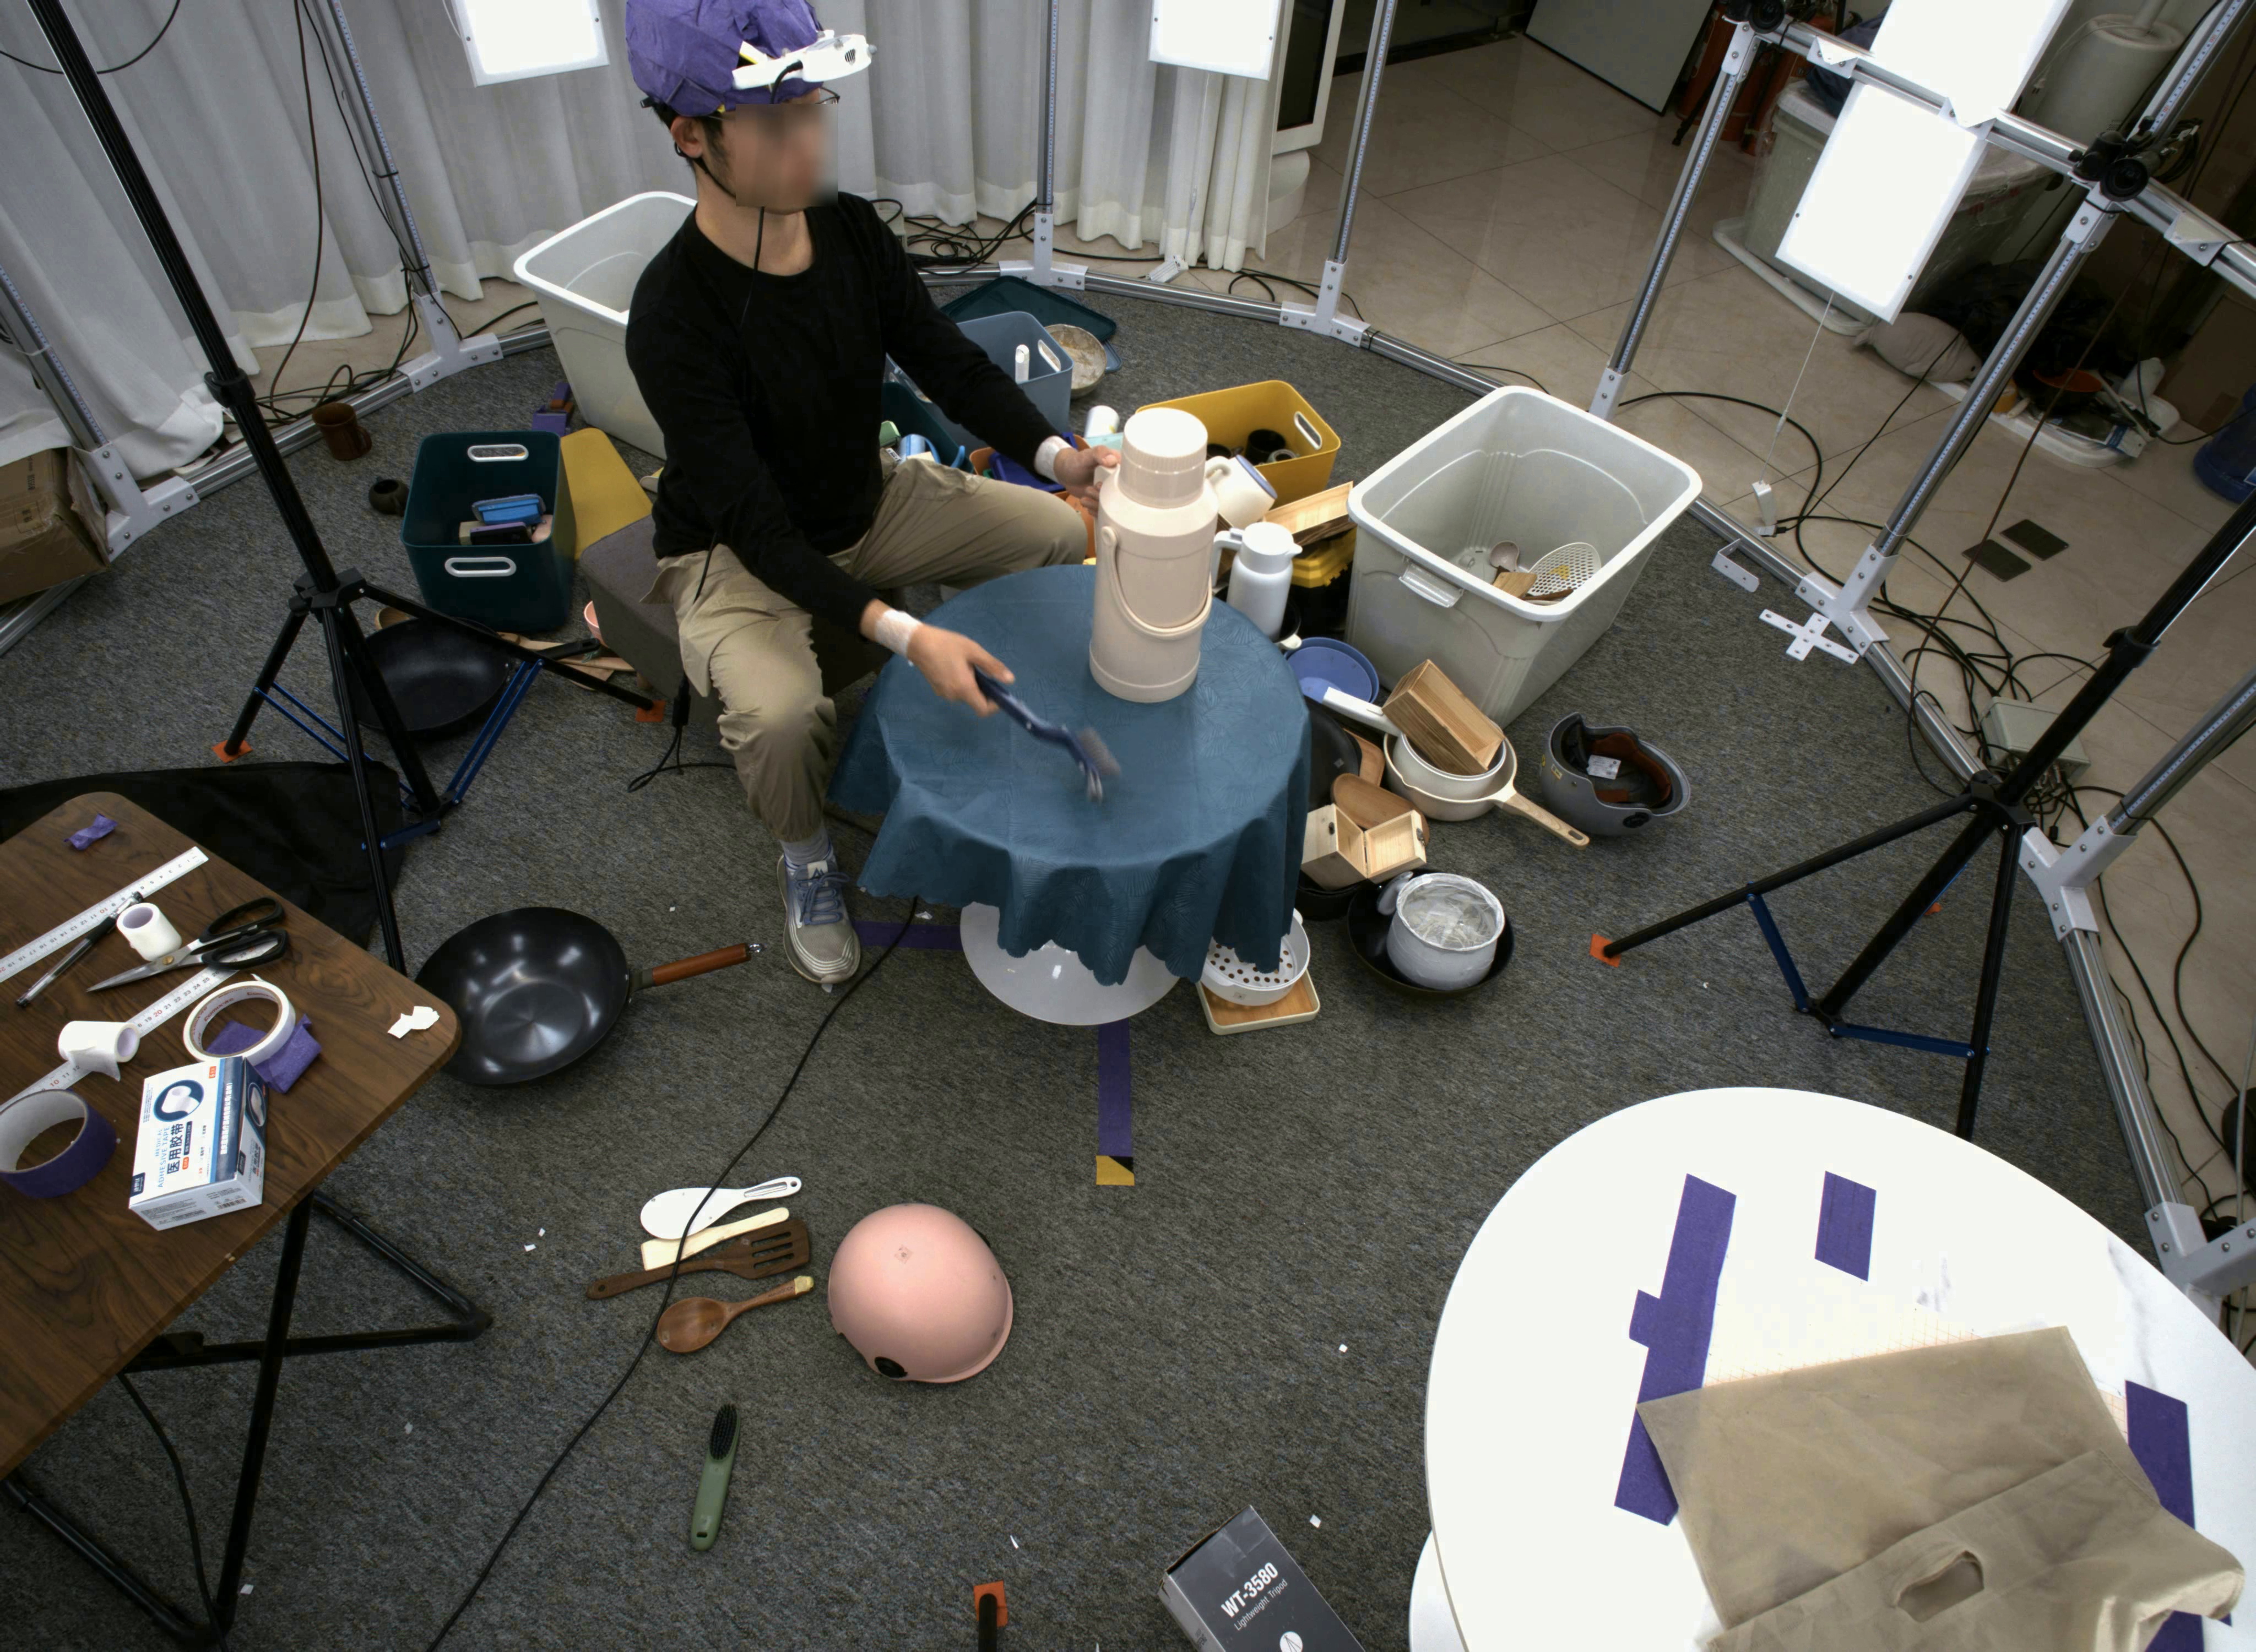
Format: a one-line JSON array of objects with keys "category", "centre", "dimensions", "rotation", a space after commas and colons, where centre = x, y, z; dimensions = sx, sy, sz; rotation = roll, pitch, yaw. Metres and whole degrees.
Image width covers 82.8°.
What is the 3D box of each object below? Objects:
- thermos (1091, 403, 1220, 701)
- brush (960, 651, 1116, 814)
[{"category": "thermos", "centre": [0.027, -0.372, 1.739], "dimensions": [0.176, 0.396, 0.210], "rotation": [-32, 59, -26]}, {"category": "brush", "centre": [-0.130, -0.127, 1.677], "dimensions": [0.275, 0.033, 0.097], "rotation": [36, 53, 10]}]
